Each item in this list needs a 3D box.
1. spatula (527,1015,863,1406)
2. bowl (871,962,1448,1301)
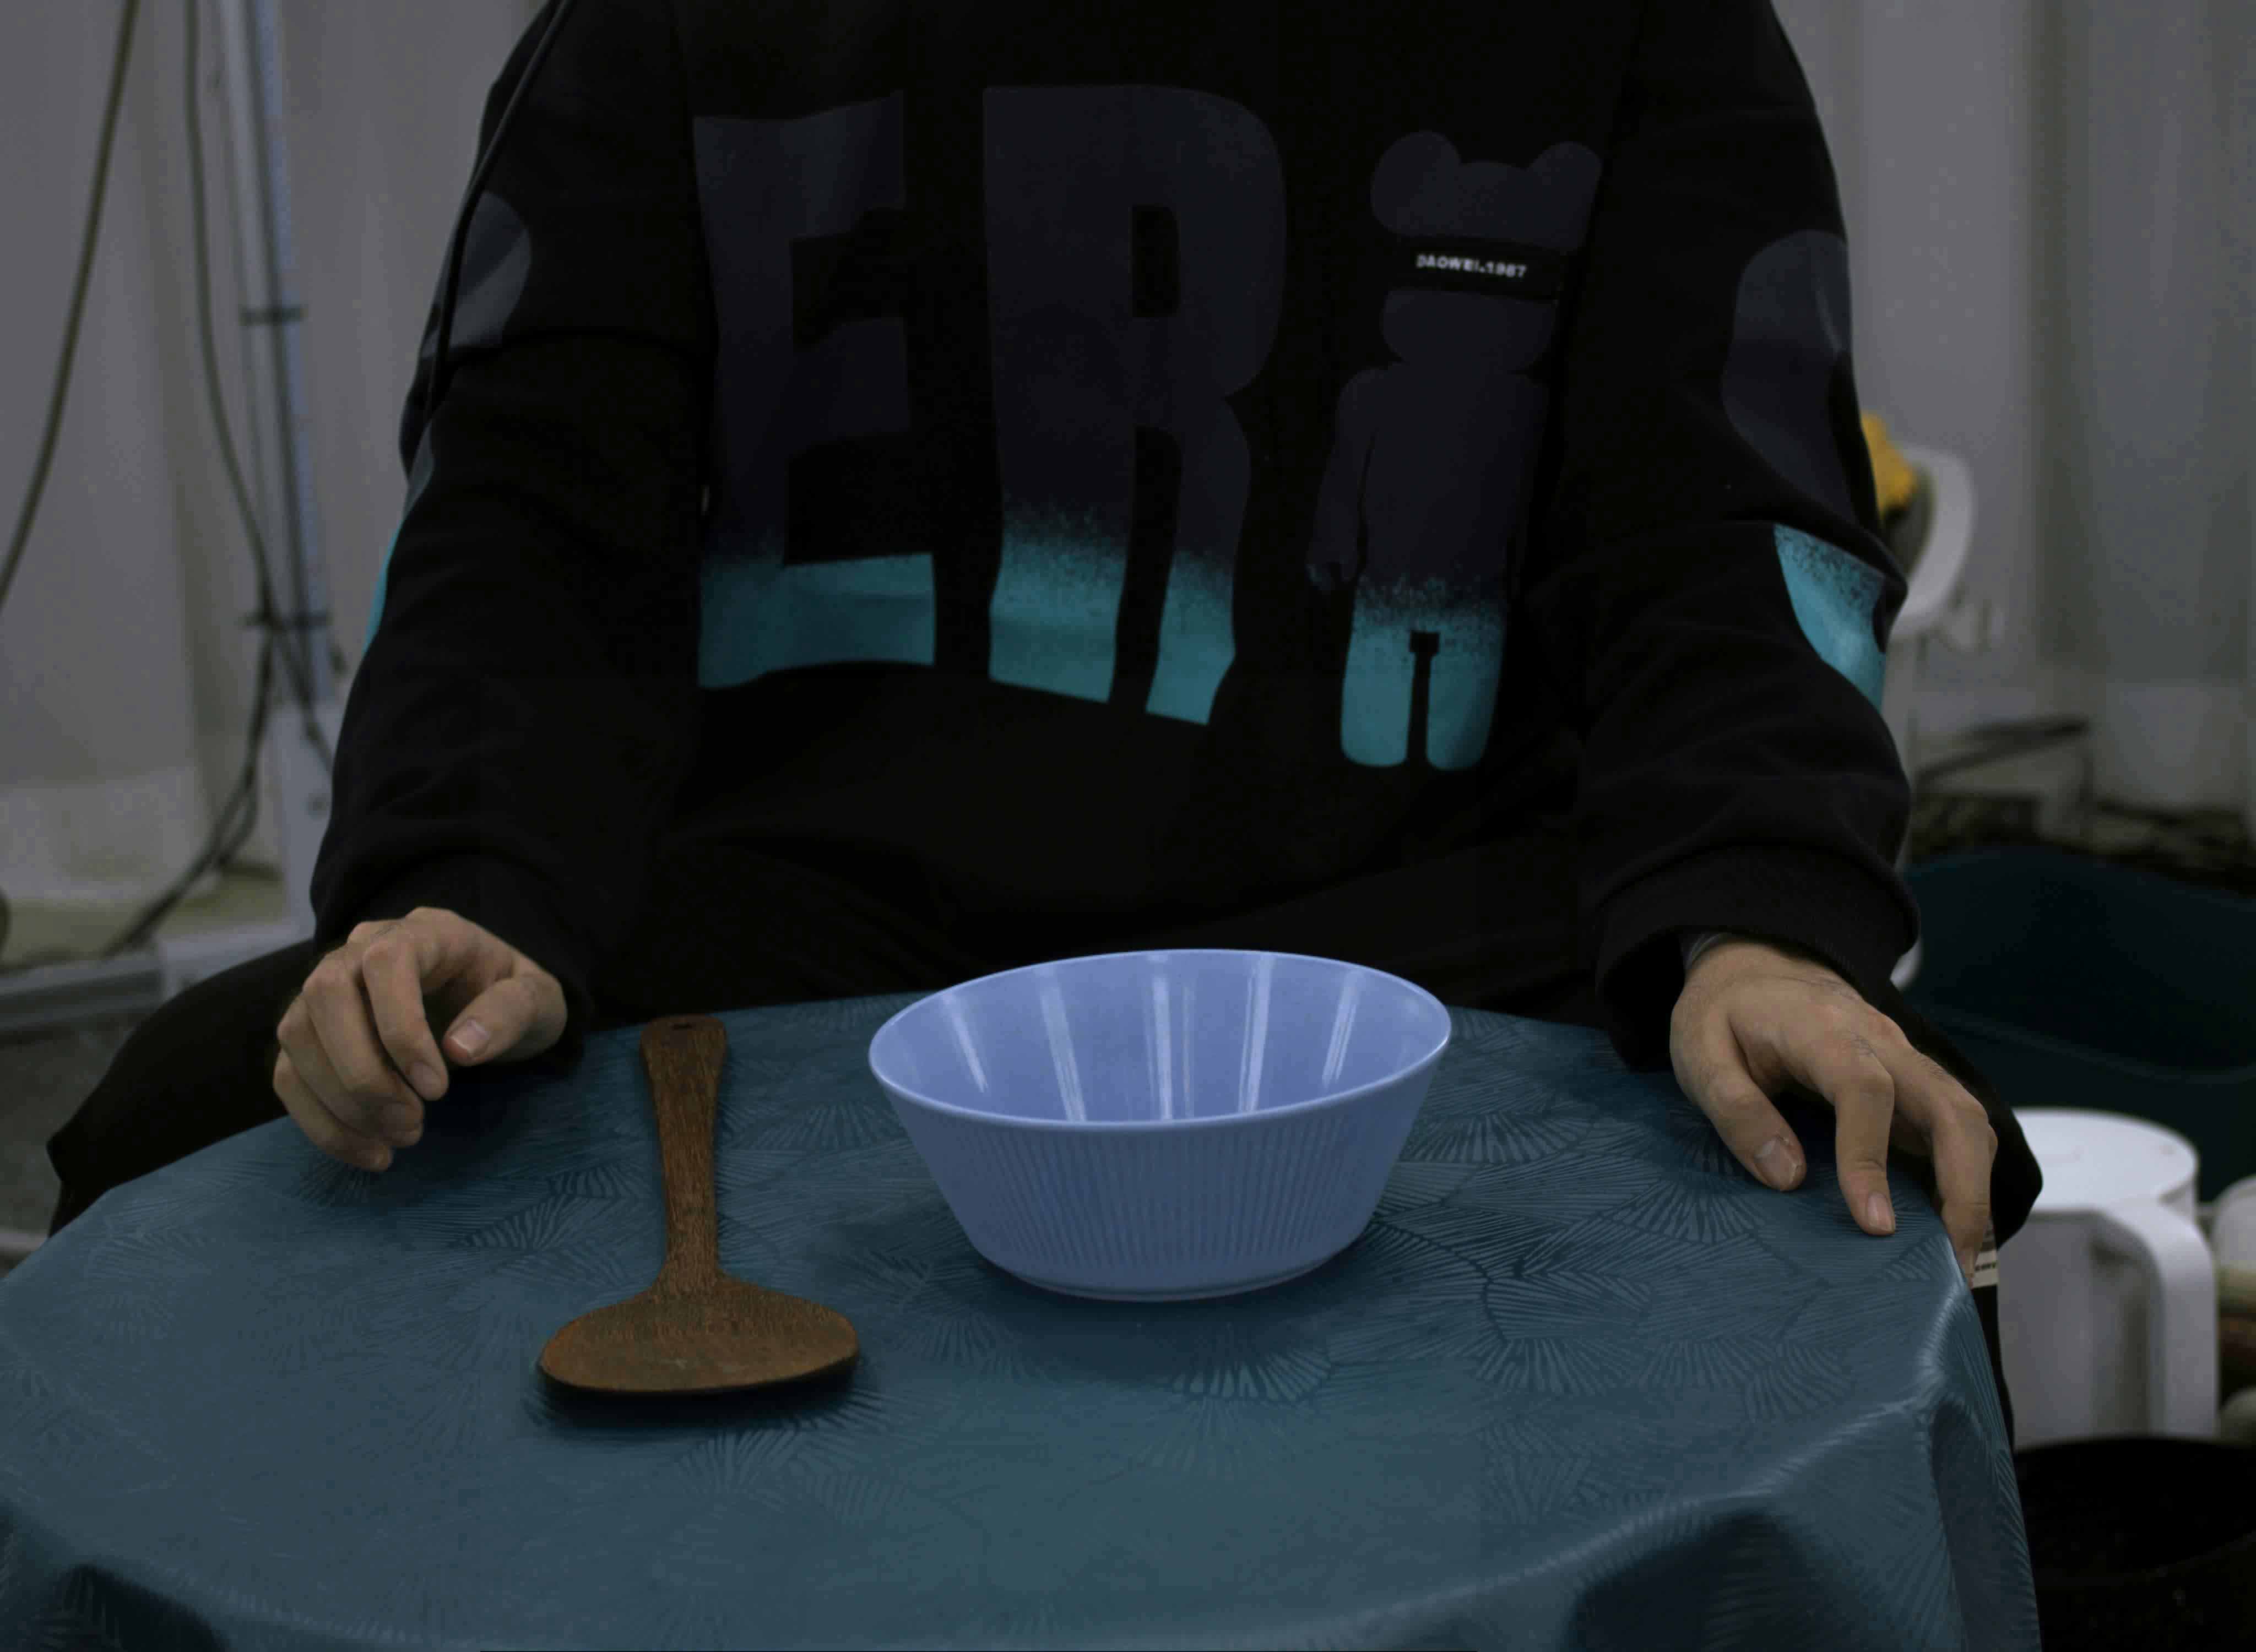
[{"bbox_3d":[-0.138,0.114,1.716,0.096,0.016,0.389,-4,15,-5],"label":"spatula"},{"bbox_3d":[0.011,0.095,1.655,0.175,0.070,0.177,-3,13,0],"label":"bowl"}]
